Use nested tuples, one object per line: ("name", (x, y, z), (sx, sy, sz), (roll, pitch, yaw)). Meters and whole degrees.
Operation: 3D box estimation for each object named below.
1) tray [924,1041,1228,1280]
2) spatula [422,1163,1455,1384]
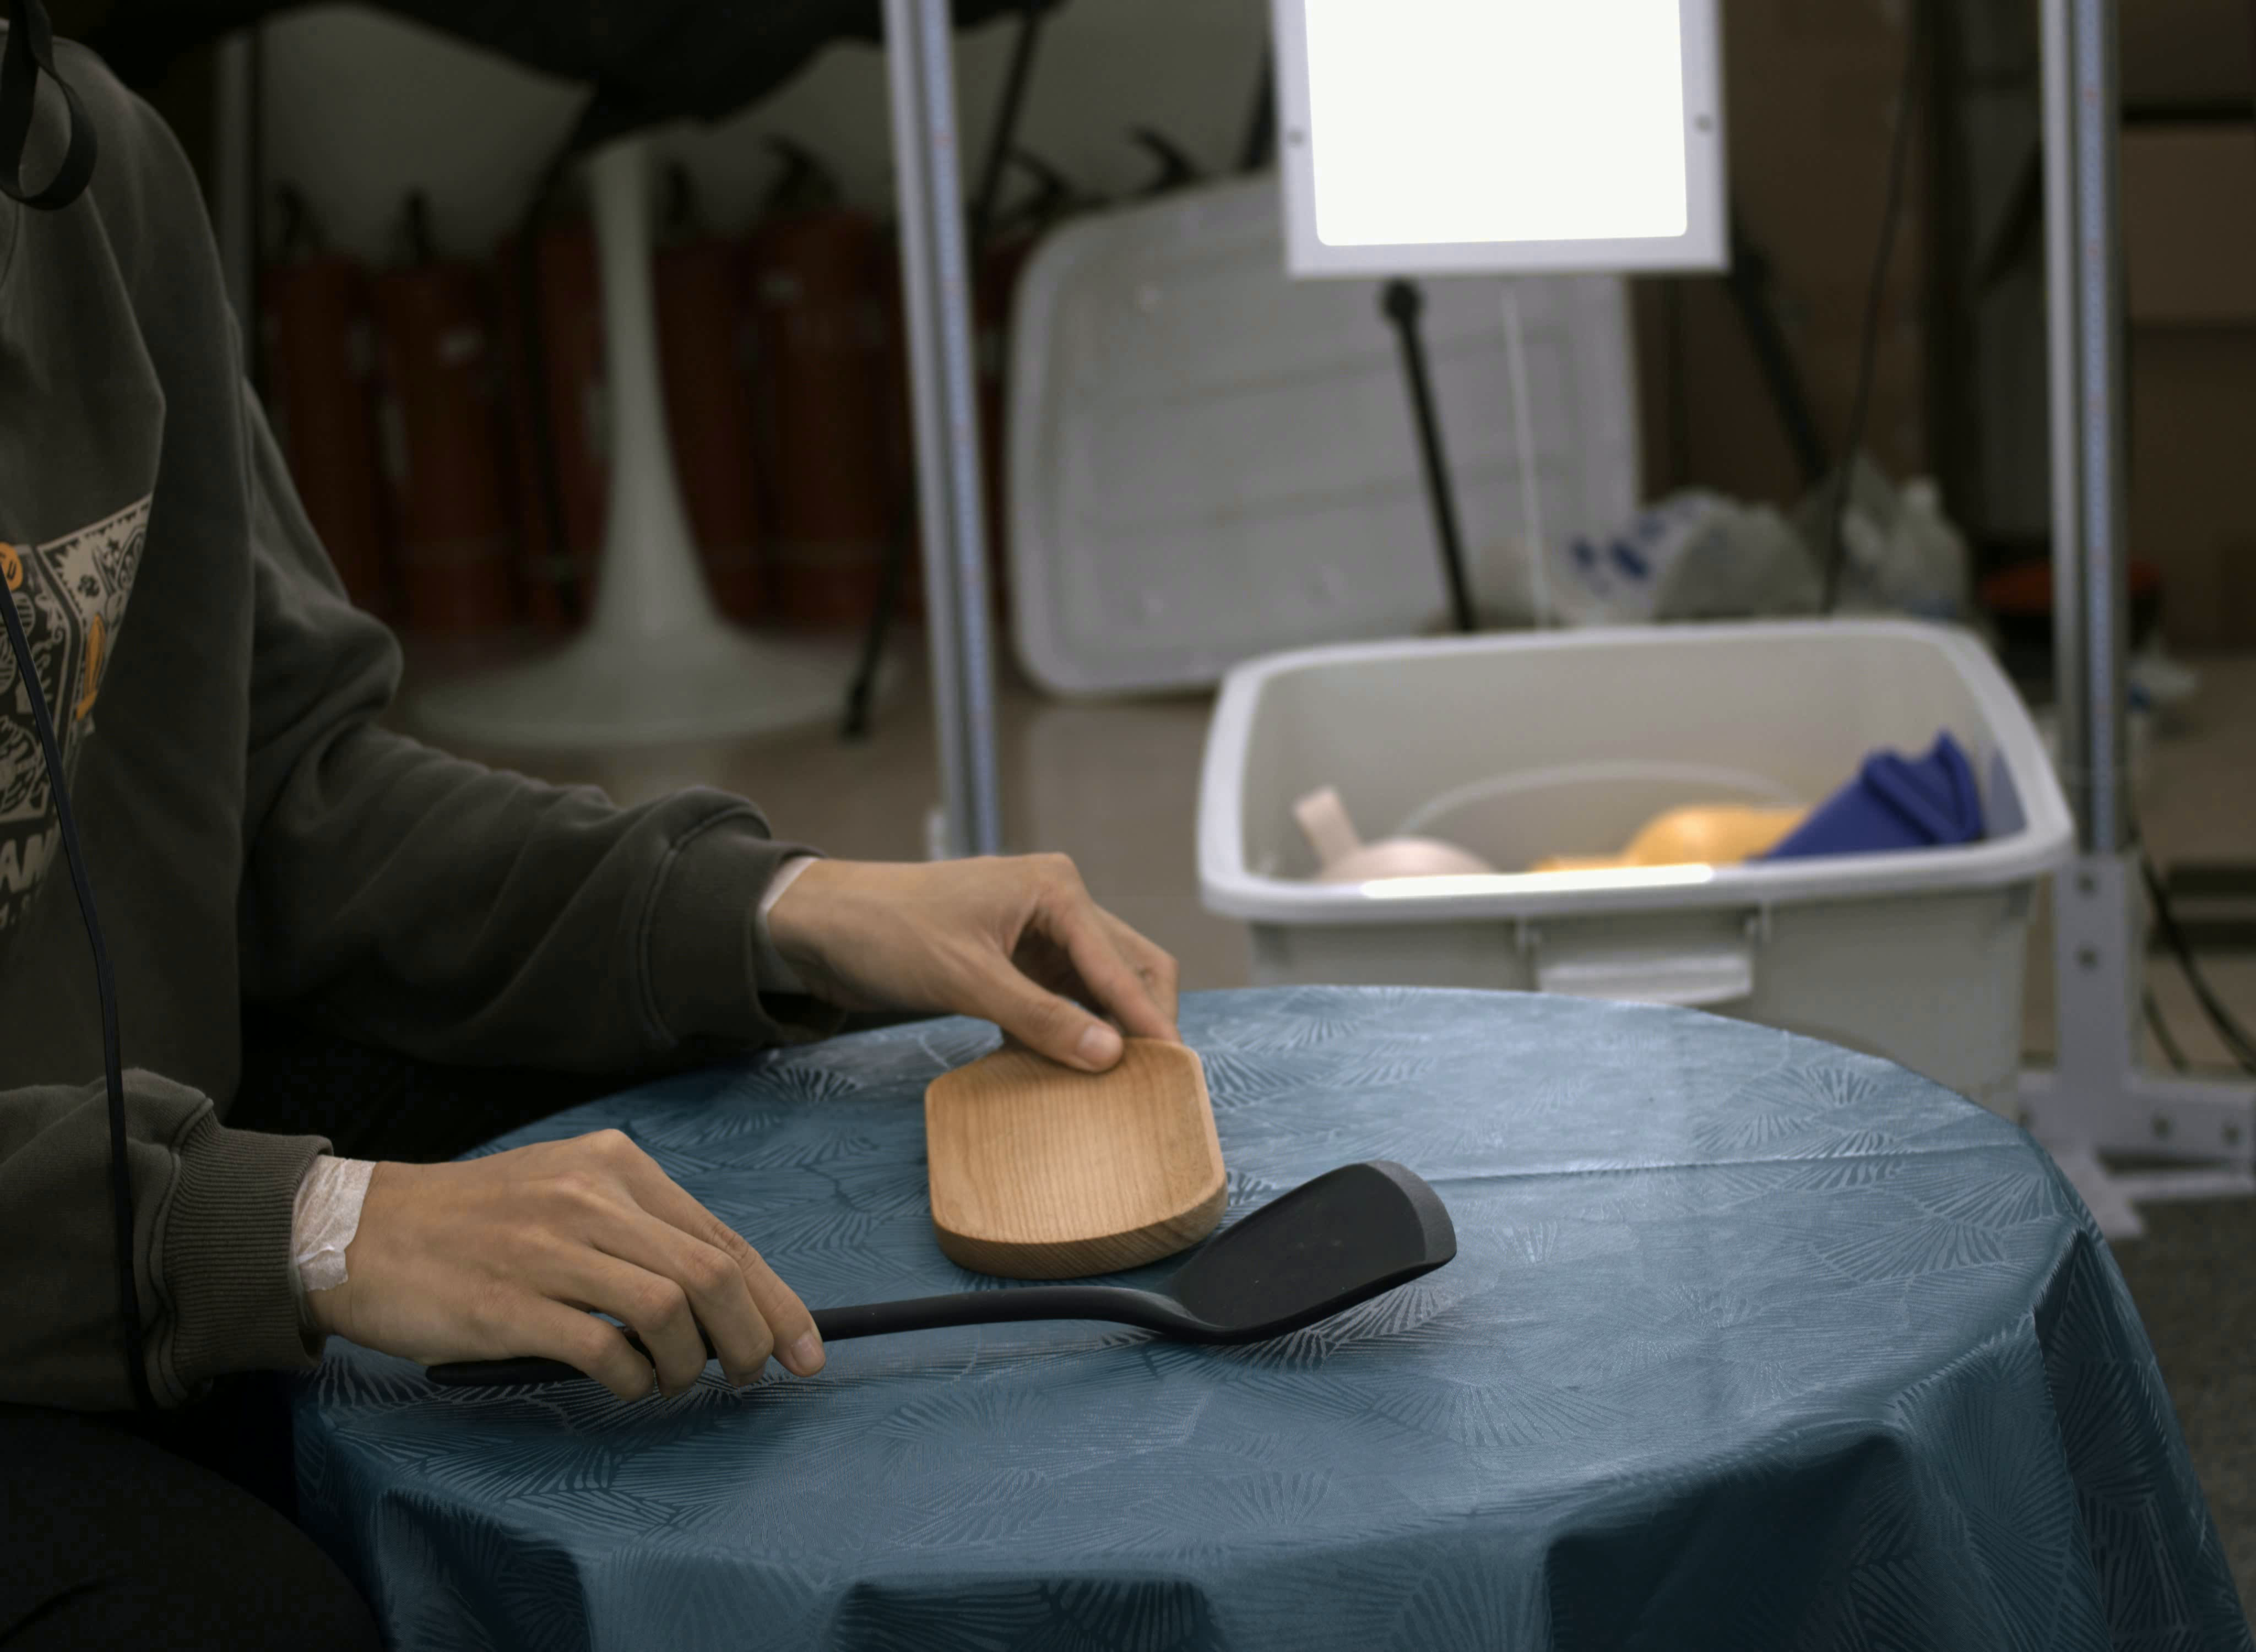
("tray", (-0.019, 0.114, 1.914), (0.101, 0.020, 0.231), (-9, 15, 0))
("spatula", (-0.060, 0.147, 1.738), (0.323, 0.040, 0.100), (-3, 15, -7))
